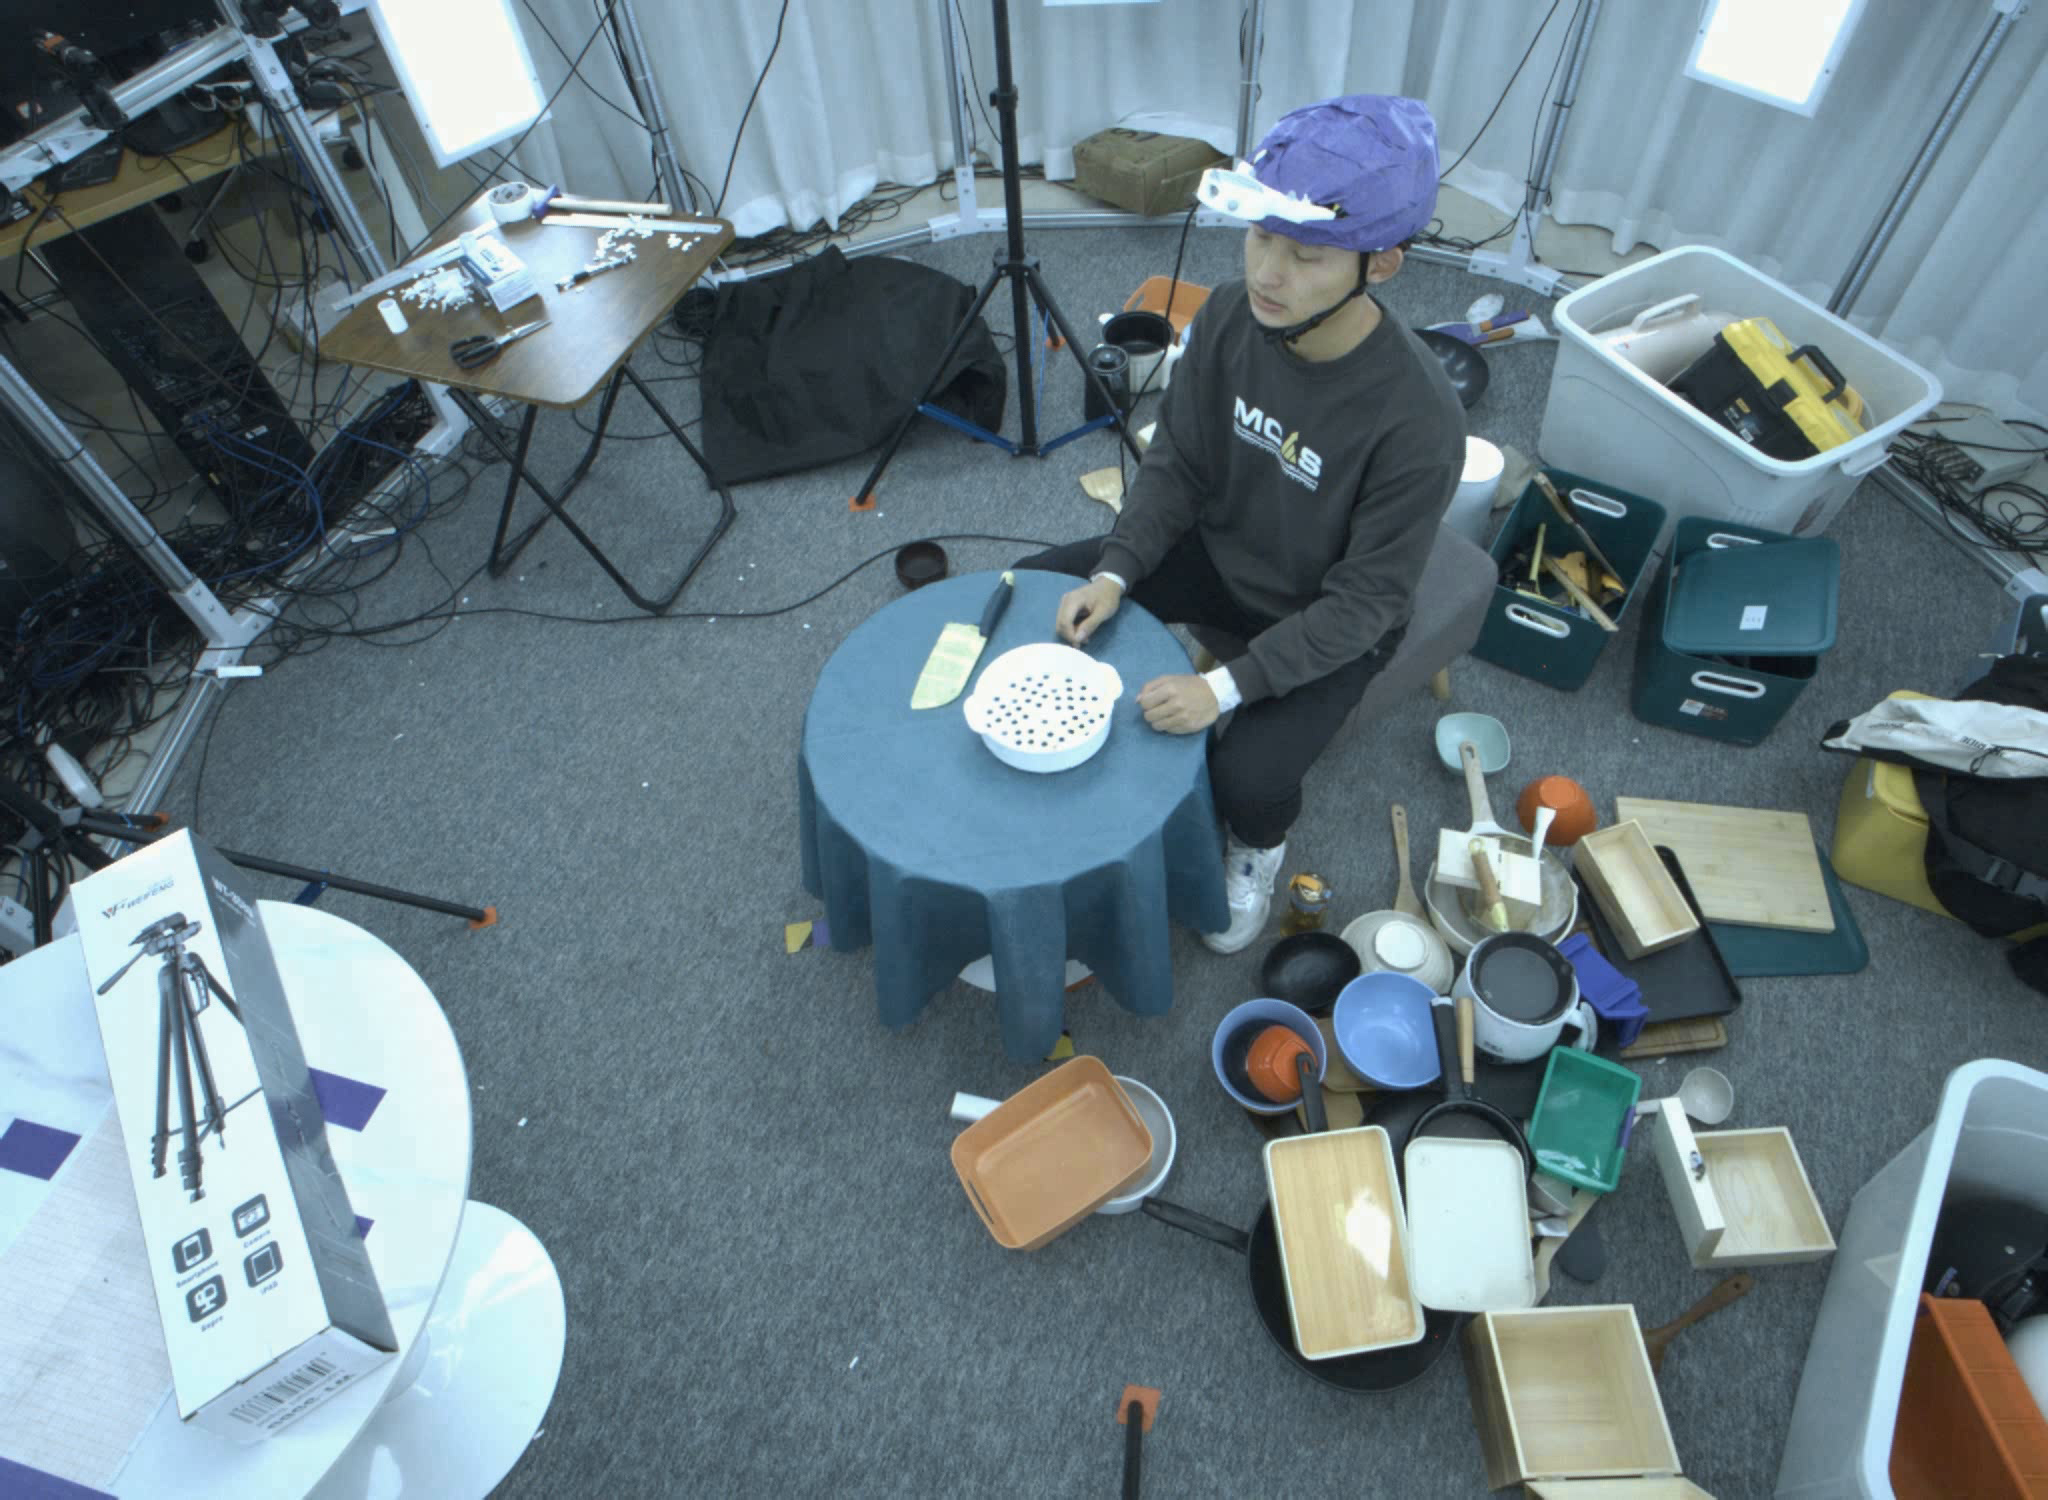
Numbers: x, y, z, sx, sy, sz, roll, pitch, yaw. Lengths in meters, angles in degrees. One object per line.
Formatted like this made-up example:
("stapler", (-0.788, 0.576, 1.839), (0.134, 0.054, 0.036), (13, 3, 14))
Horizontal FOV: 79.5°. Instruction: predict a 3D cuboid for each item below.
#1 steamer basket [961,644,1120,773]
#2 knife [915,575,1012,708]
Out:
("steamer basket", (0.024, -0.059, 1.795), (0.232, 0.070, 0.198), (-13, 56, -10))
("knife", (-0.093, -0.172, 1.911), (0.080, 0.027, 0.289), (20, 58, 13))
